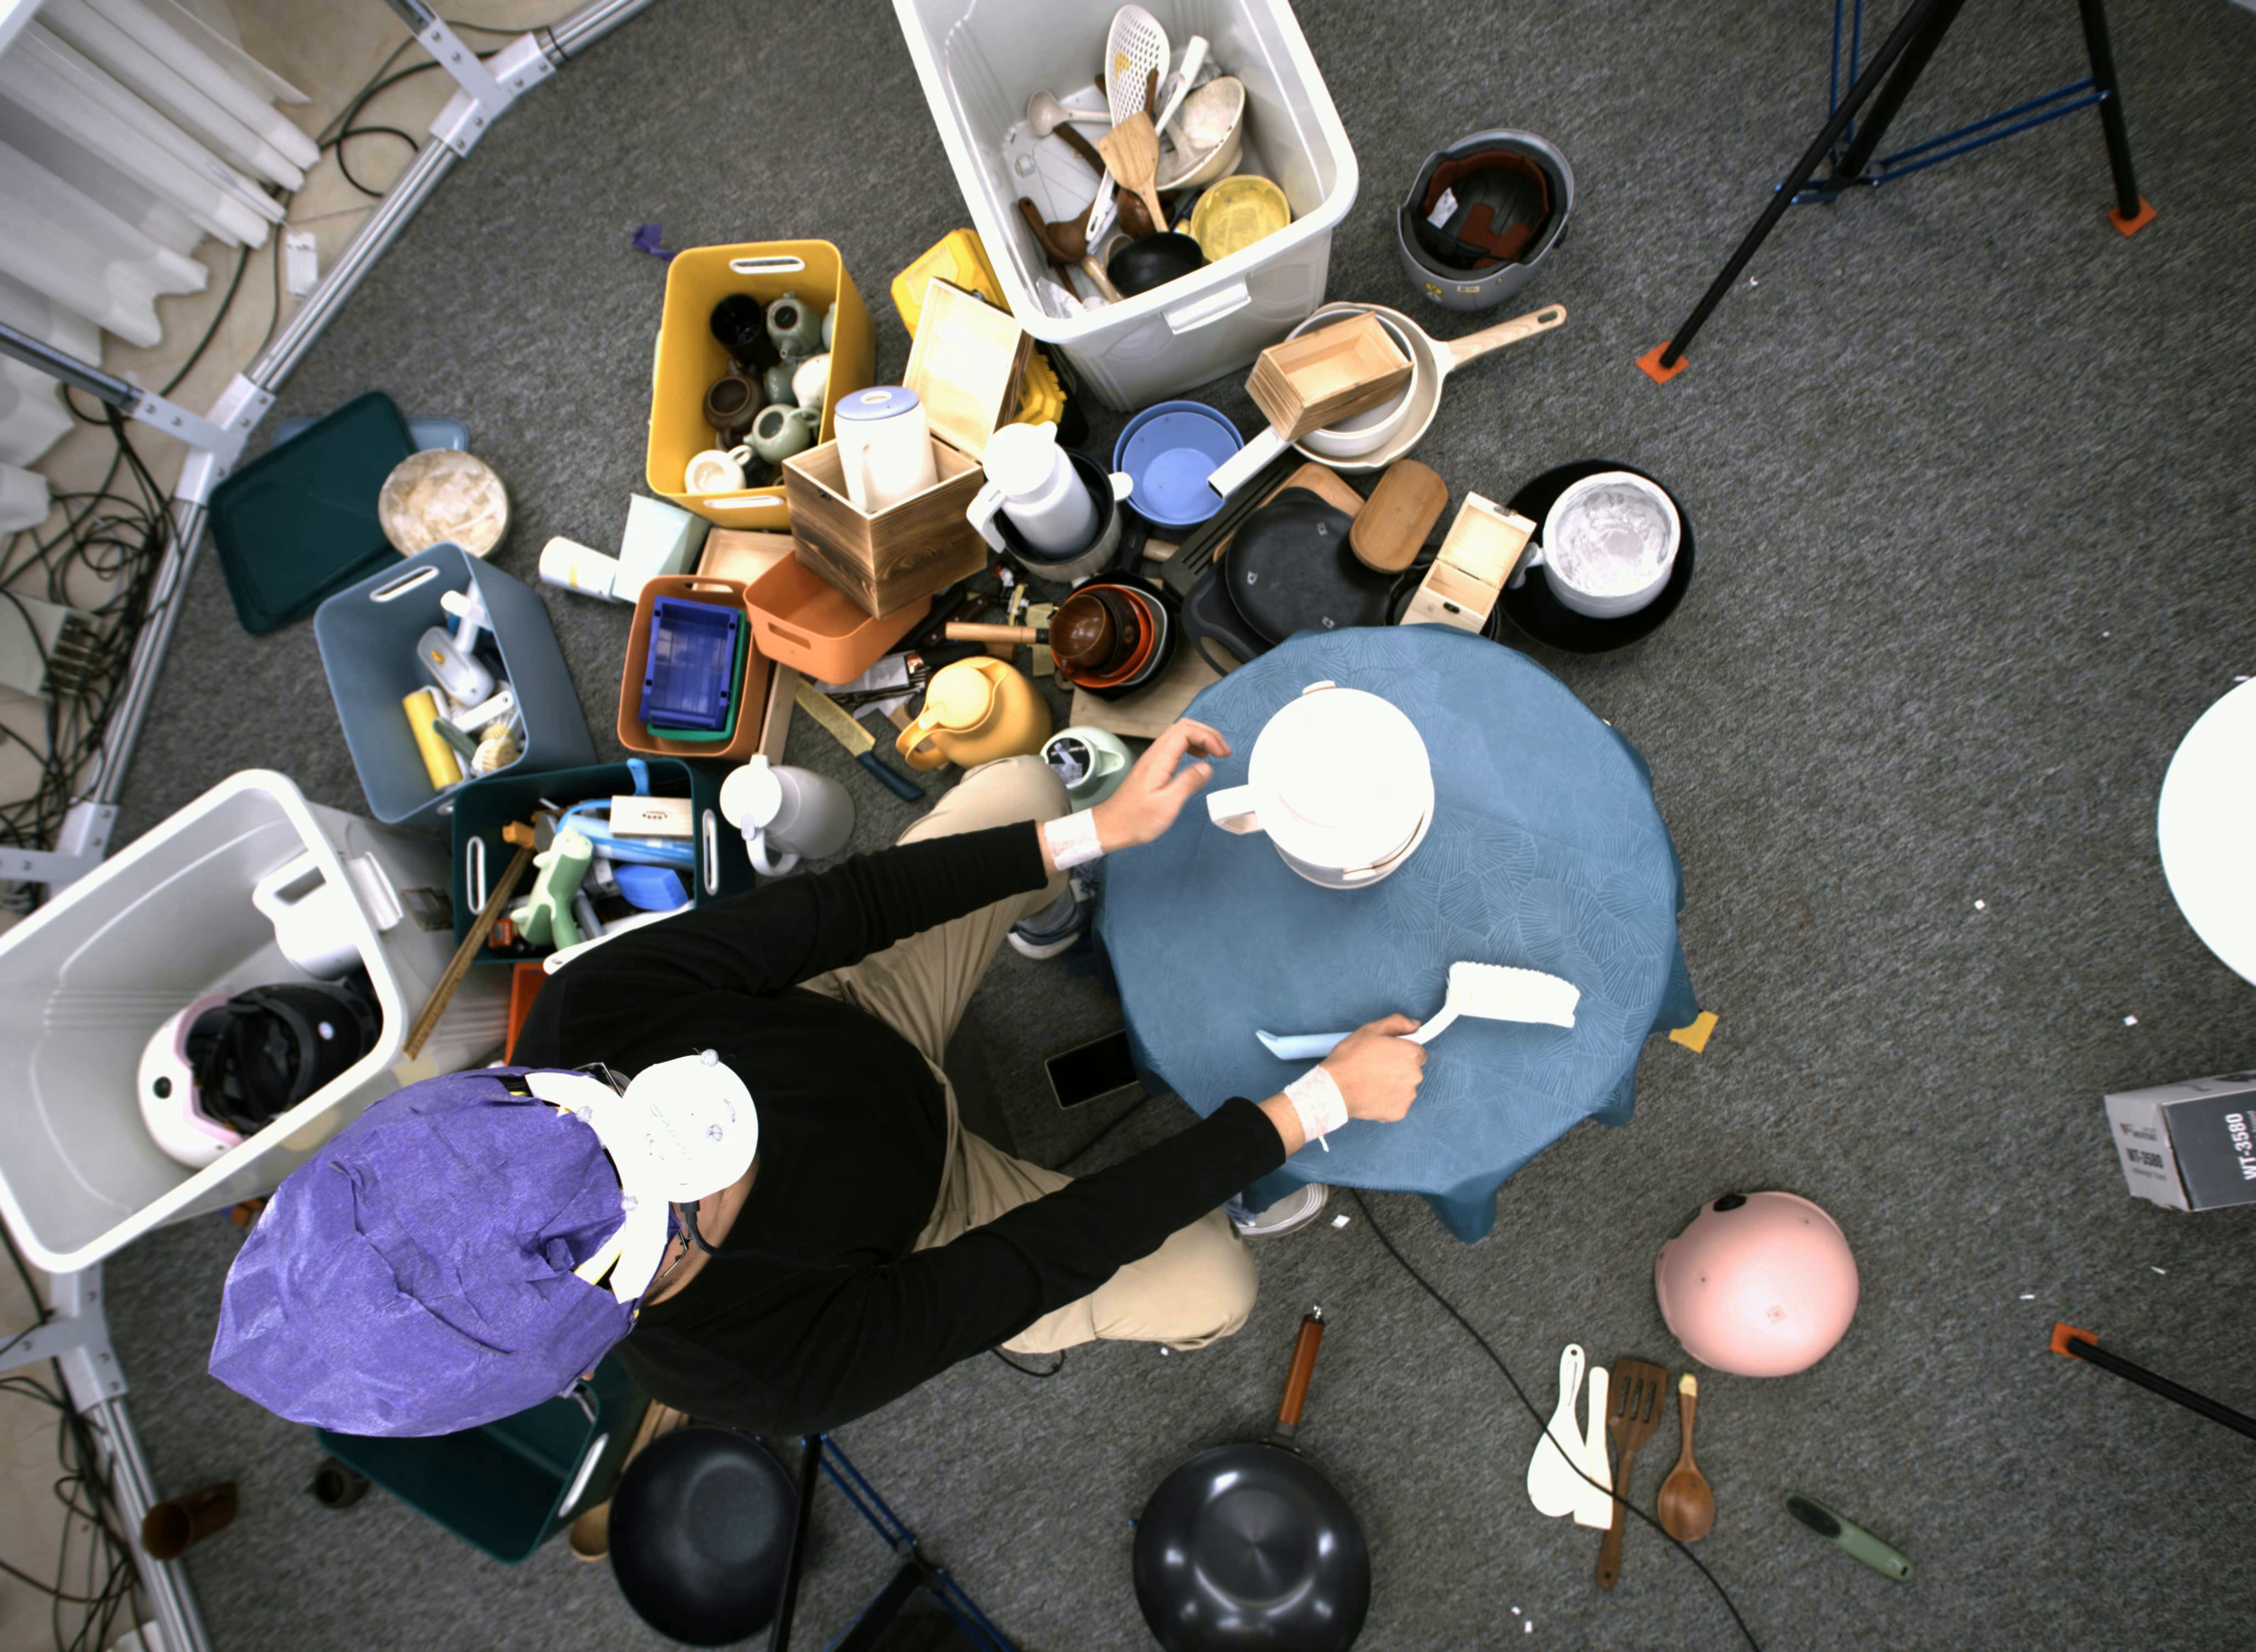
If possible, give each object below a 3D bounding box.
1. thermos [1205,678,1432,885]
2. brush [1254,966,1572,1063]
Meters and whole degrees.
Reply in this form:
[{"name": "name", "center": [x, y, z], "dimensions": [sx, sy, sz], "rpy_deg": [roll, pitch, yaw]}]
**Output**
[{"name": "thermos", "center": [0.181, -0.034, 1.281], "dimensions": [0.208, 0.406, 0.174], "rpy_deg": [-13, 84, 8]}, {"name": "brush", "center": [0.287, 0.179, 1.415], "dimensions": [0.327, 0.084, 0.082], "rpy_deg": [-6, 58, 12]}]
